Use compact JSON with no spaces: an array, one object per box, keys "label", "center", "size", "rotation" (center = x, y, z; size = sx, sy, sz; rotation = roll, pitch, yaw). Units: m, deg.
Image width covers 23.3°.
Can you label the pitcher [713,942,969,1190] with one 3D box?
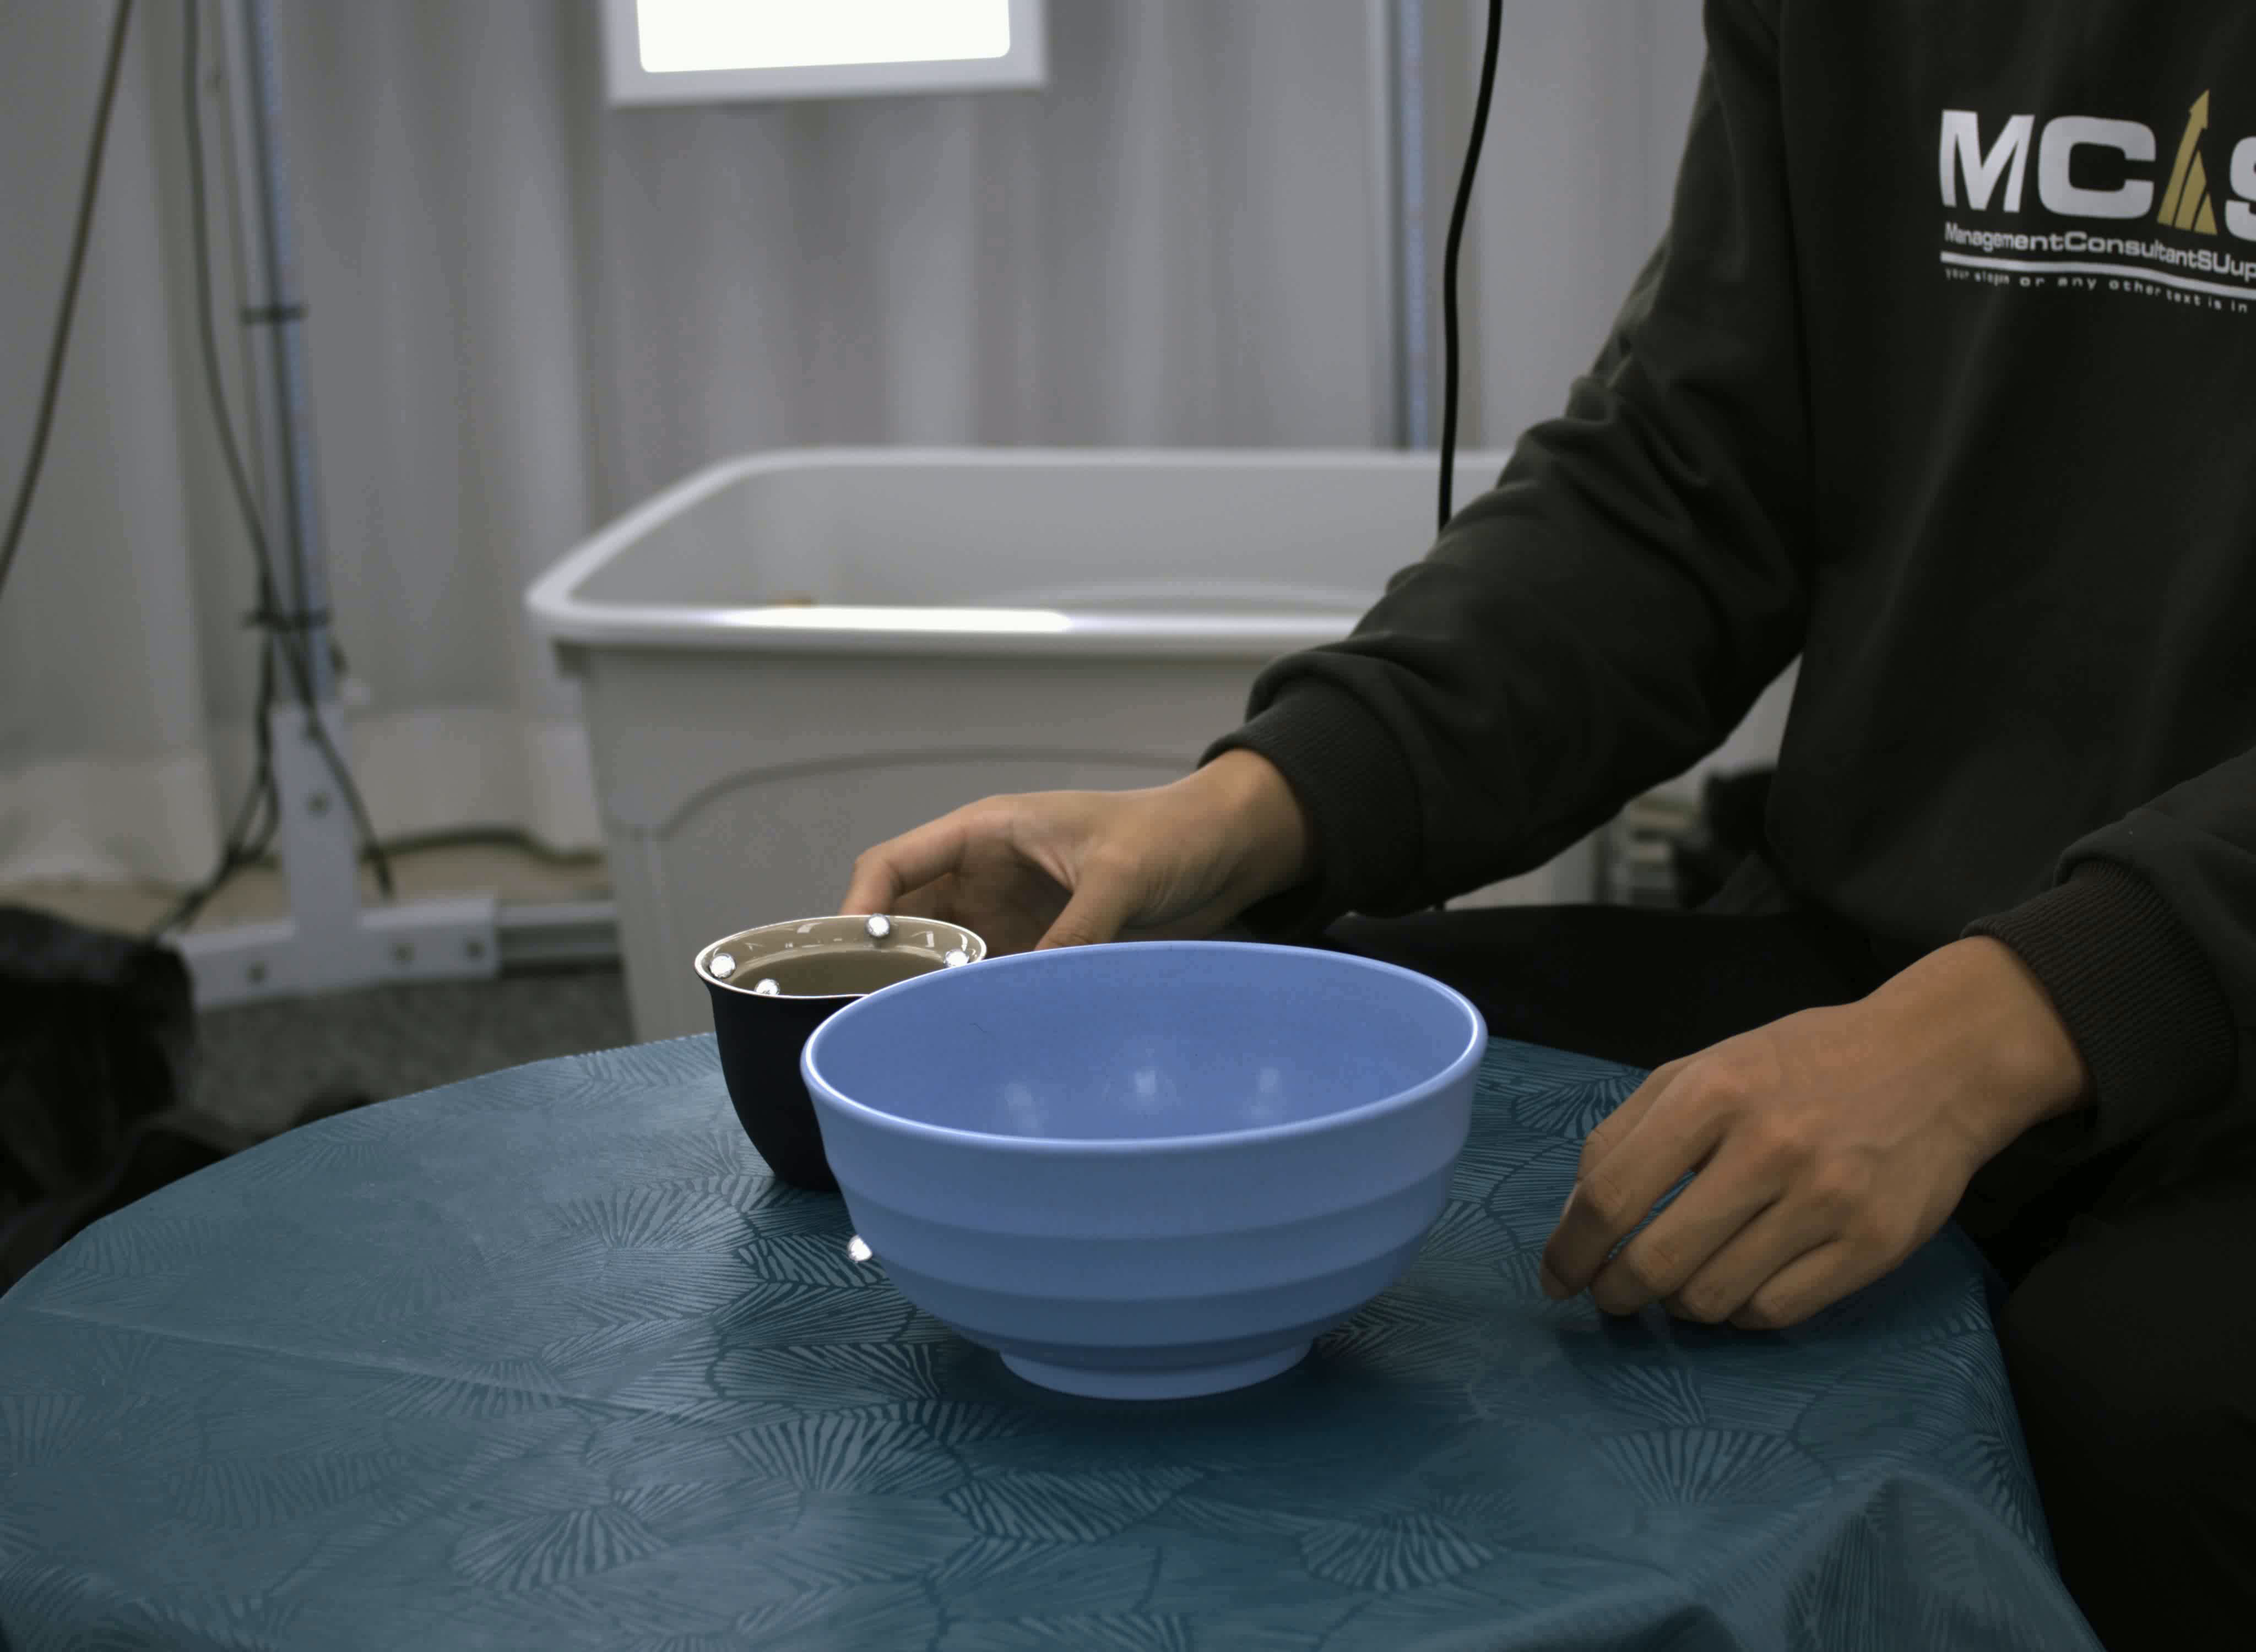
[{"label":"pitcher","center":[-0.087,0.076,1.739],"size":[0.083,0.071,0.096],"rotation":[-9,15,-28]}]

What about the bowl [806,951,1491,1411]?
[{"label":"bowl","center":[0.006,0.108,1.574],"size":[0.196,0.095,0.198],"rotation":[0,14,0]}]
